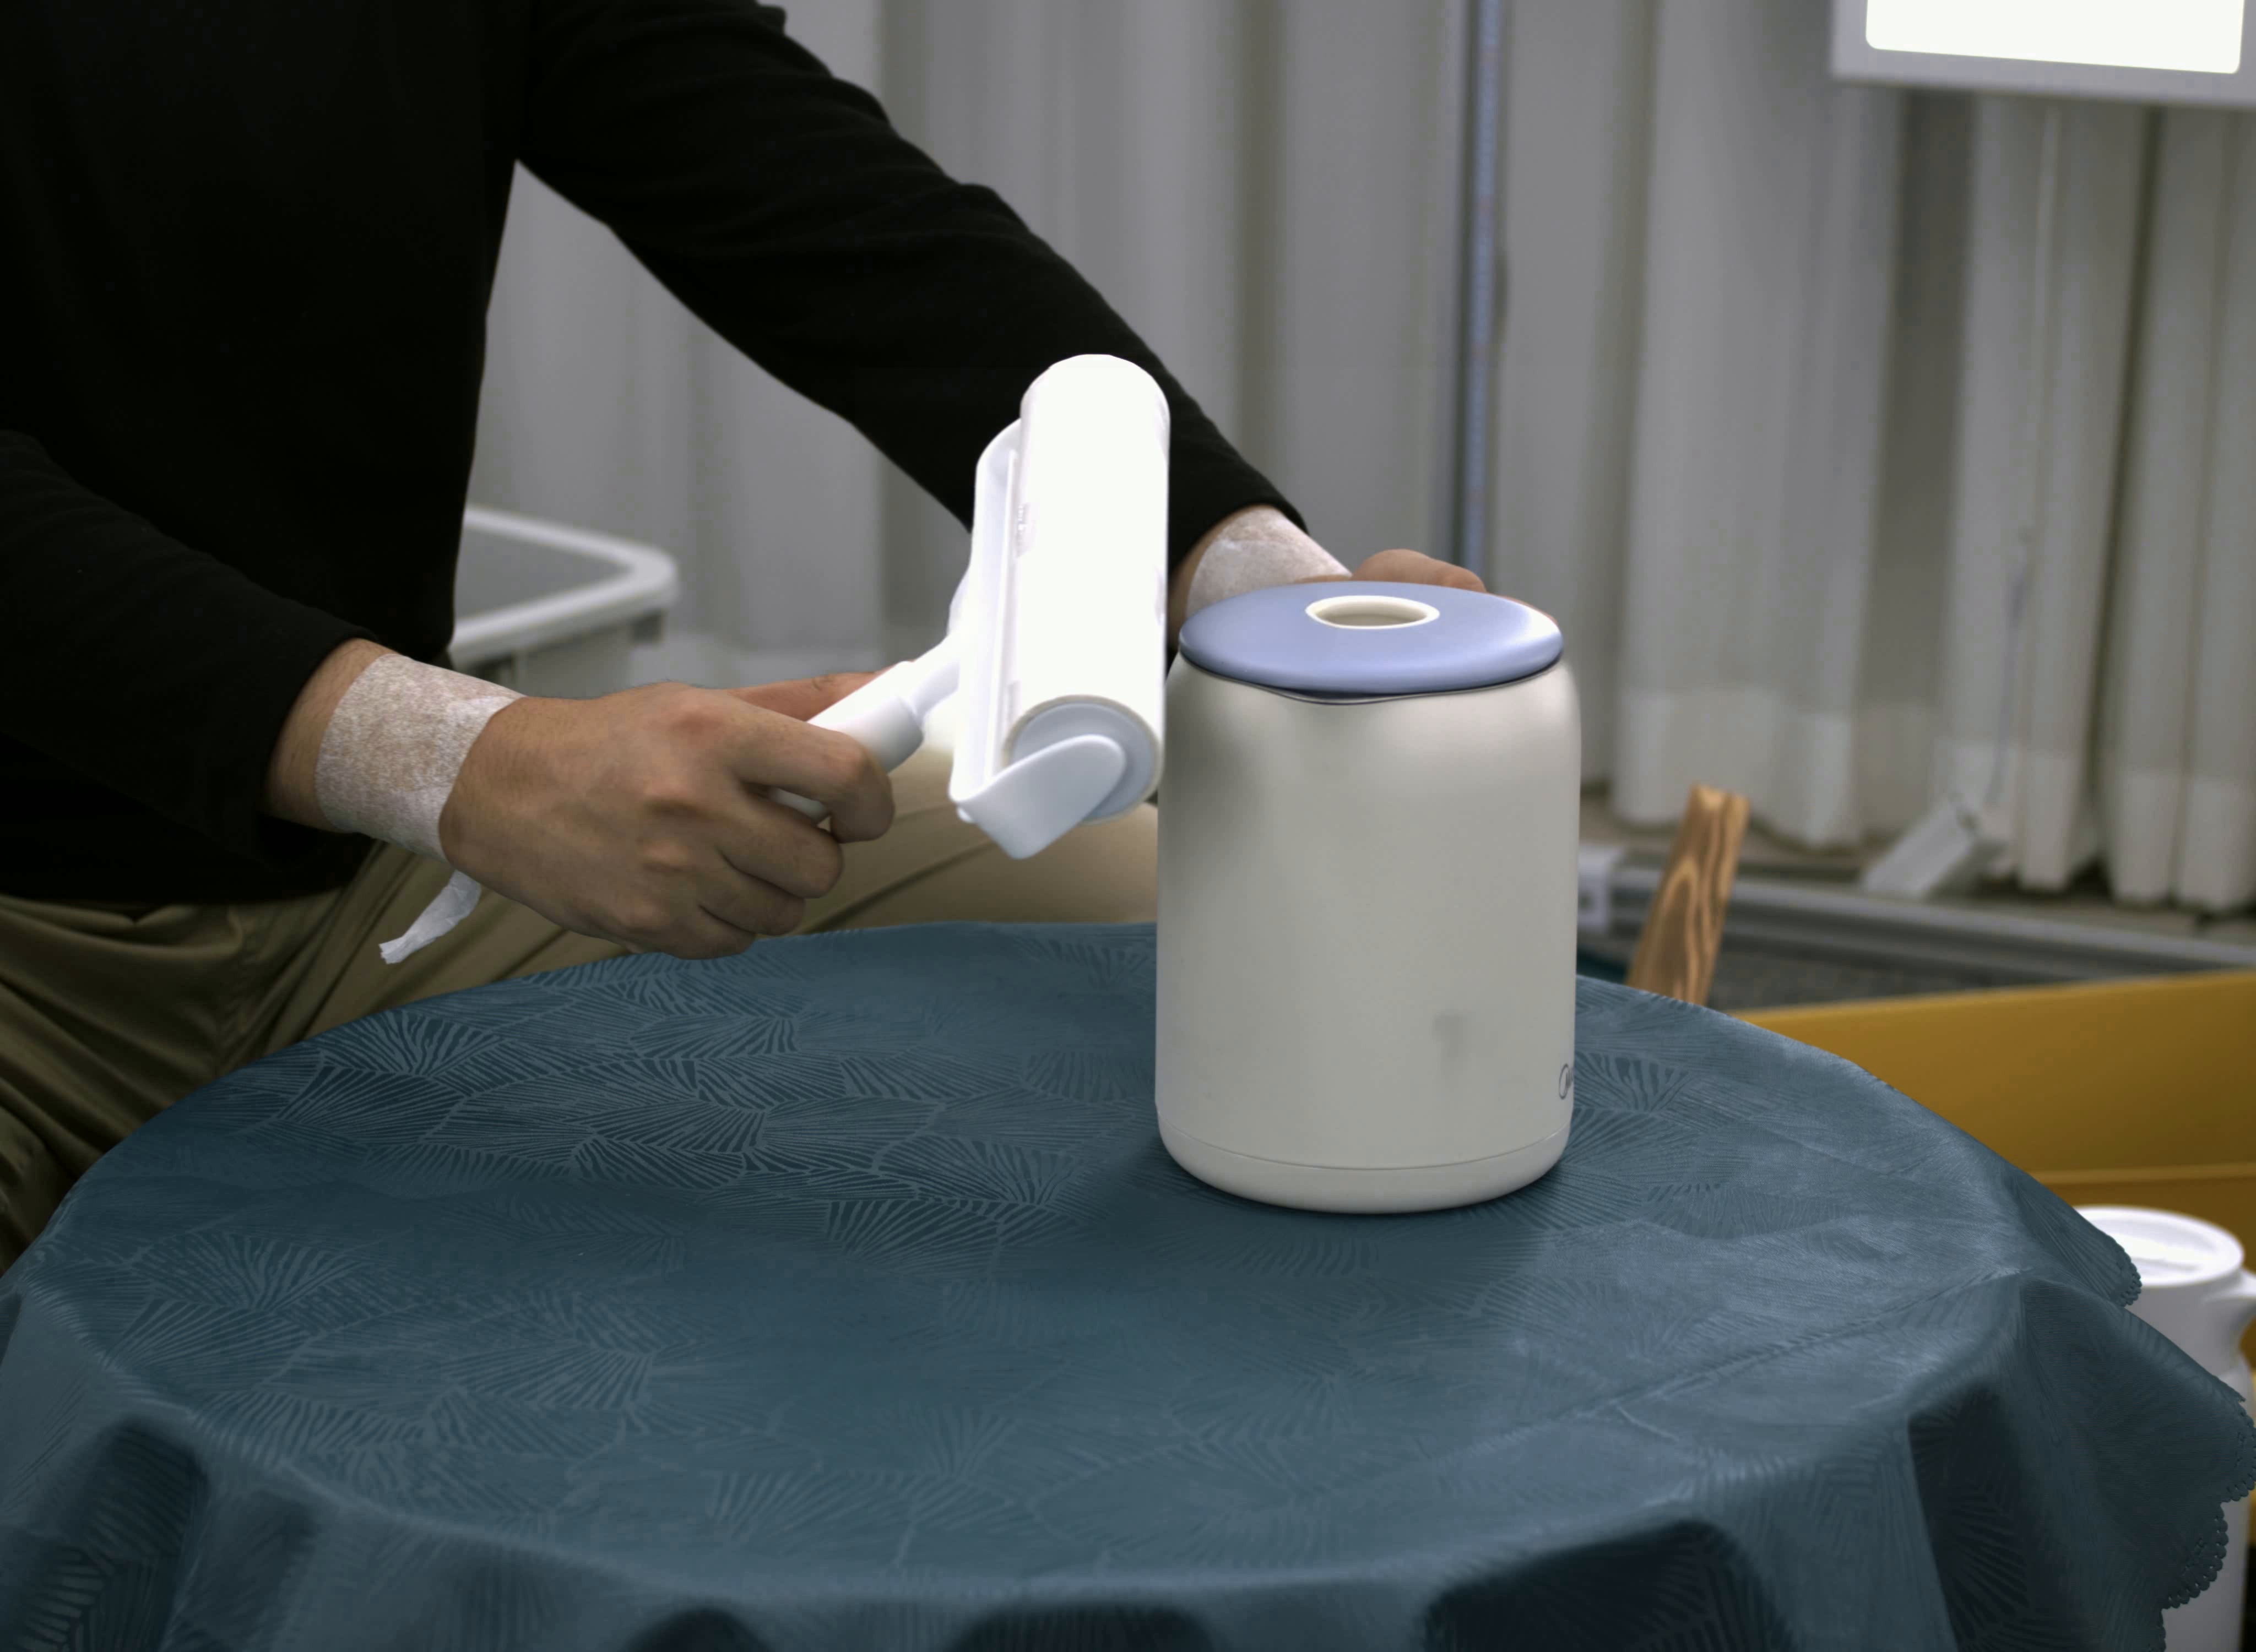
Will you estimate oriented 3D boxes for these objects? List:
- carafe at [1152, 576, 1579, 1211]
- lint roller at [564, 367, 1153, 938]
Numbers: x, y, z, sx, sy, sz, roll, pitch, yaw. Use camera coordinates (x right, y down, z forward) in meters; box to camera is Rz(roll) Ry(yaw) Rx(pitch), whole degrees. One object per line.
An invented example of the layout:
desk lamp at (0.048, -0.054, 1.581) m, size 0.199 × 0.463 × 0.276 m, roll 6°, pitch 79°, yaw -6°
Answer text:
carafe at (0.078, 0.014, 1.655) m, size 0.131 × 0.184 × 0.191 m, roll 4°, pitch 15°, yaw 10°
lint roller at (-0.087, -0.031, 1.605) m, size 0.225 × 0.049 × 0.201 m, roll -29°, pitch 30°, yaw 19°
